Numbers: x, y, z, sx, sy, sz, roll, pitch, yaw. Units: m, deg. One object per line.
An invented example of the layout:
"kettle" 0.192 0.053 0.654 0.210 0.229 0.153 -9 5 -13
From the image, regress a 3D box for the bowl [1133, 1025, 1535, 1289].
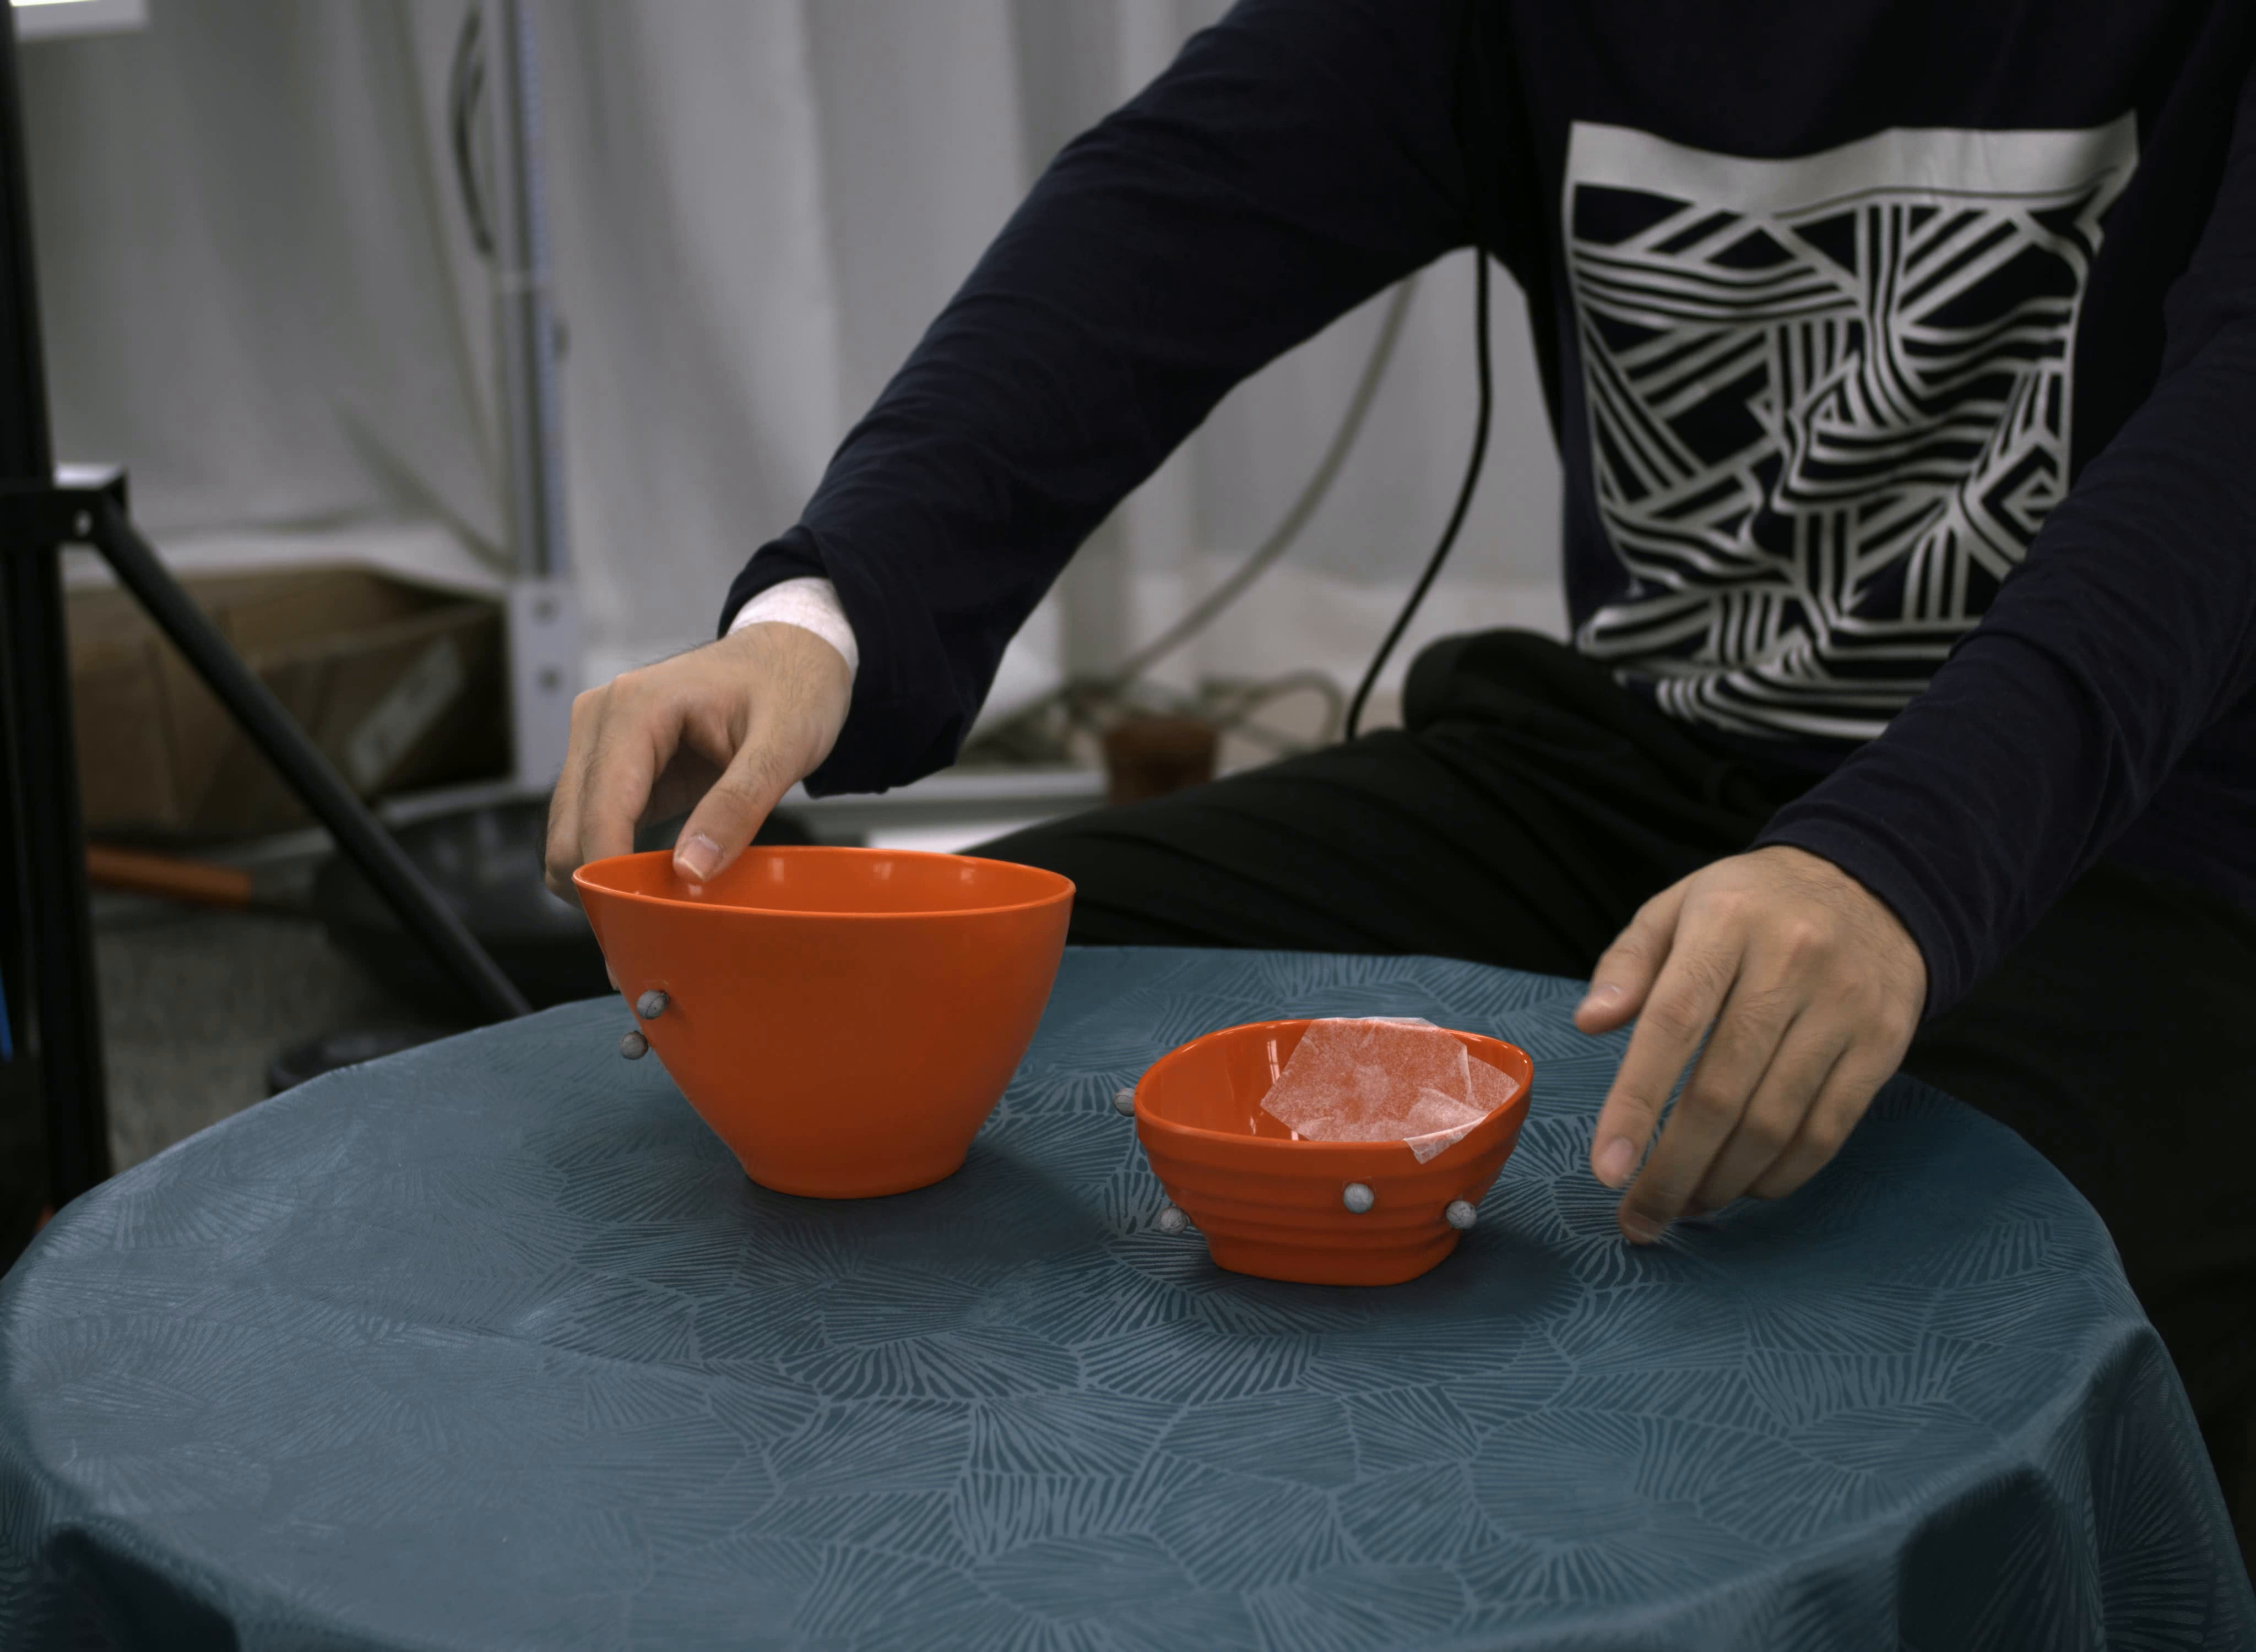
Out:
"bowl" 0.060 0.096 1.505 0.118 0.051 0.119 -3 14 -1

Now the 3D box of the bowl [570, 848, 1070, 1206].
"bowl" -0.089 0.056 1.577 0.147 0.104 0.149 -2 15 -1
